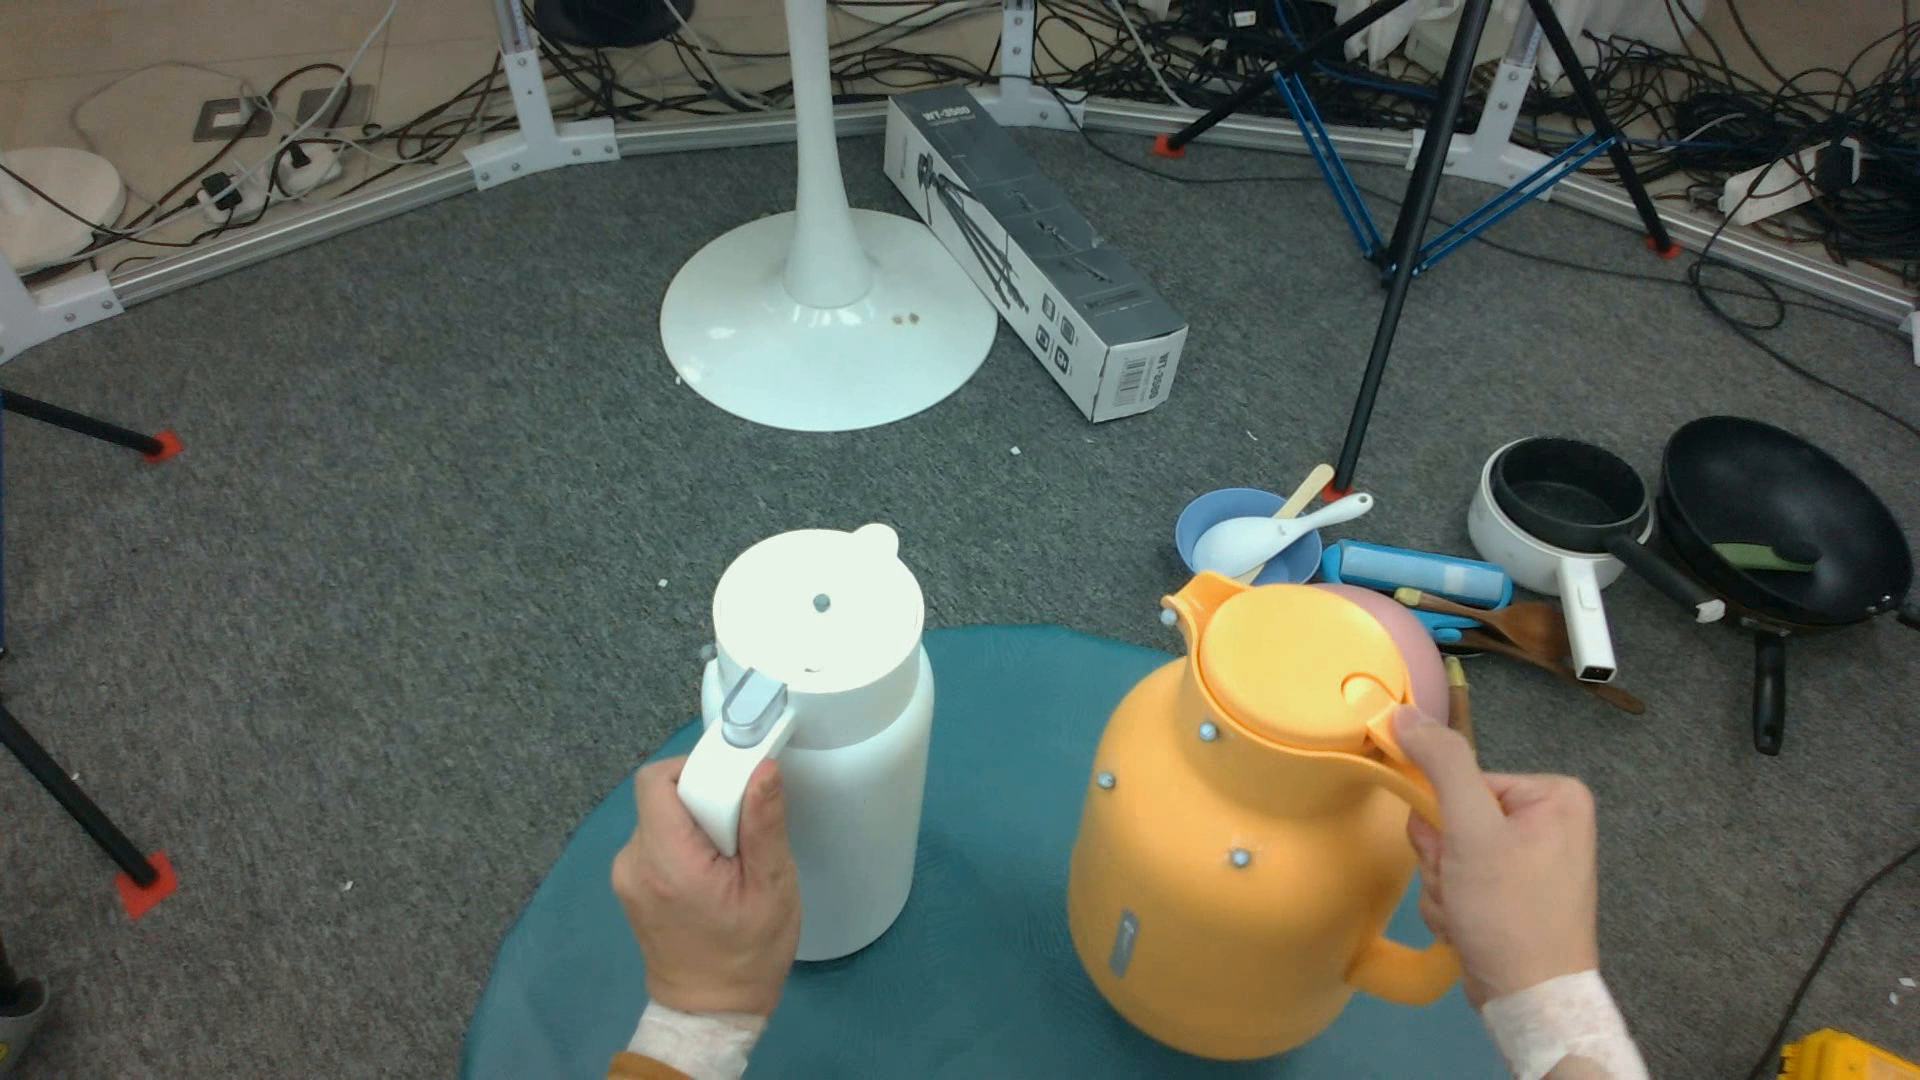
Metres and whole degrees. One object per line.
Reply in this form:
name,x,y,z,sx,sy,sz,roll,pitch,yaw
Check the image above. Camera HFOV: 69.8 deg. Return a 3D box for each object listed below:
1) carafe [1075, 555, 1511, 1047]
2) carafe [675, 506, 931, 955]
carafe,0.156,0.140,0.675,0.164,0.259,0.202,-31,53,-26
carafe,-0.085,0.125,0.727,0.124,0.267,0.174,24,50,11
